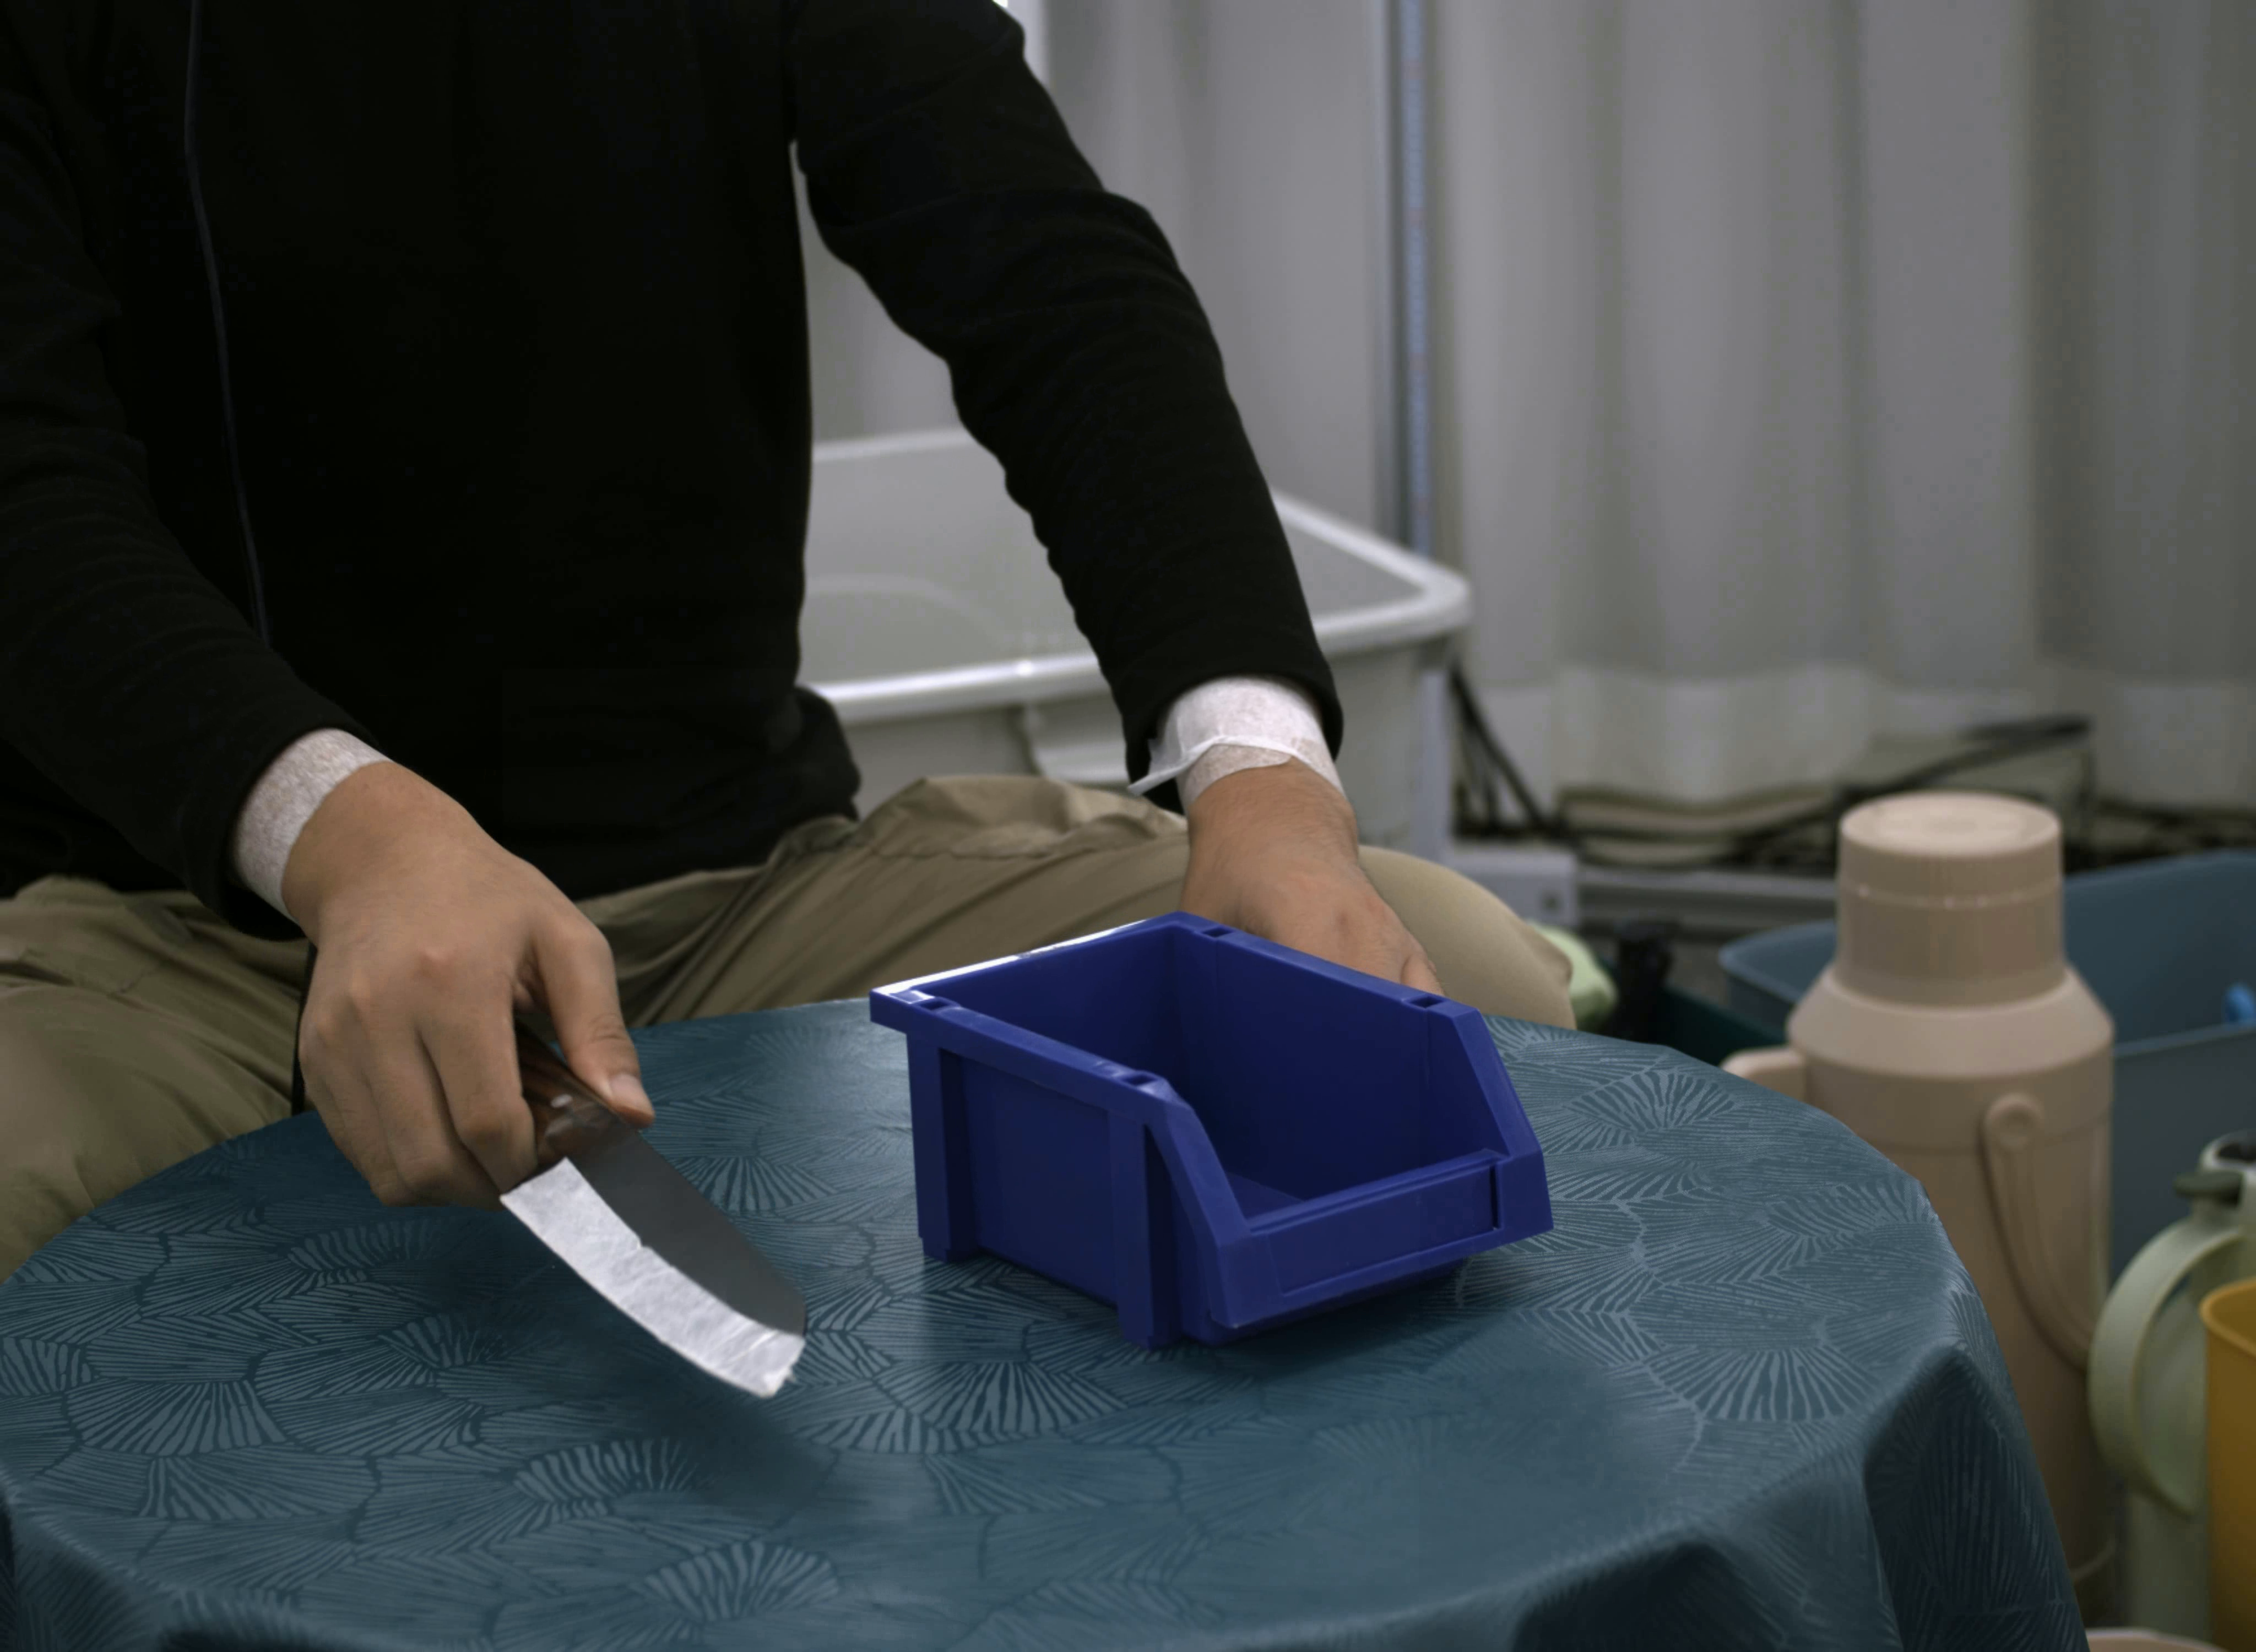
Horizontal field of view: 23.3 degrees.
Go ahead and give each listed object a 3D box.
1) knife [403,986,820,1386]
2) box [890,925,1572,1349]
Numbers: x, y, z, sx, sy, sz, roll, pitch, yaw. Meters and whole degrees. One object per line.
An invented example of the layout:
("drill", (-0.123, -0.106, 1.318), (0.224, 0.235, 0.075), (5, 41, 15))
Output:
("knife", (-0.152, 0.103, 1.577), (0.050, 0.020, 0.292), (-28, 28, -15))
("box", (0.031, 0.093, 1.630), (0.124, 0.081, 0.180), (-12, 15, -33))
